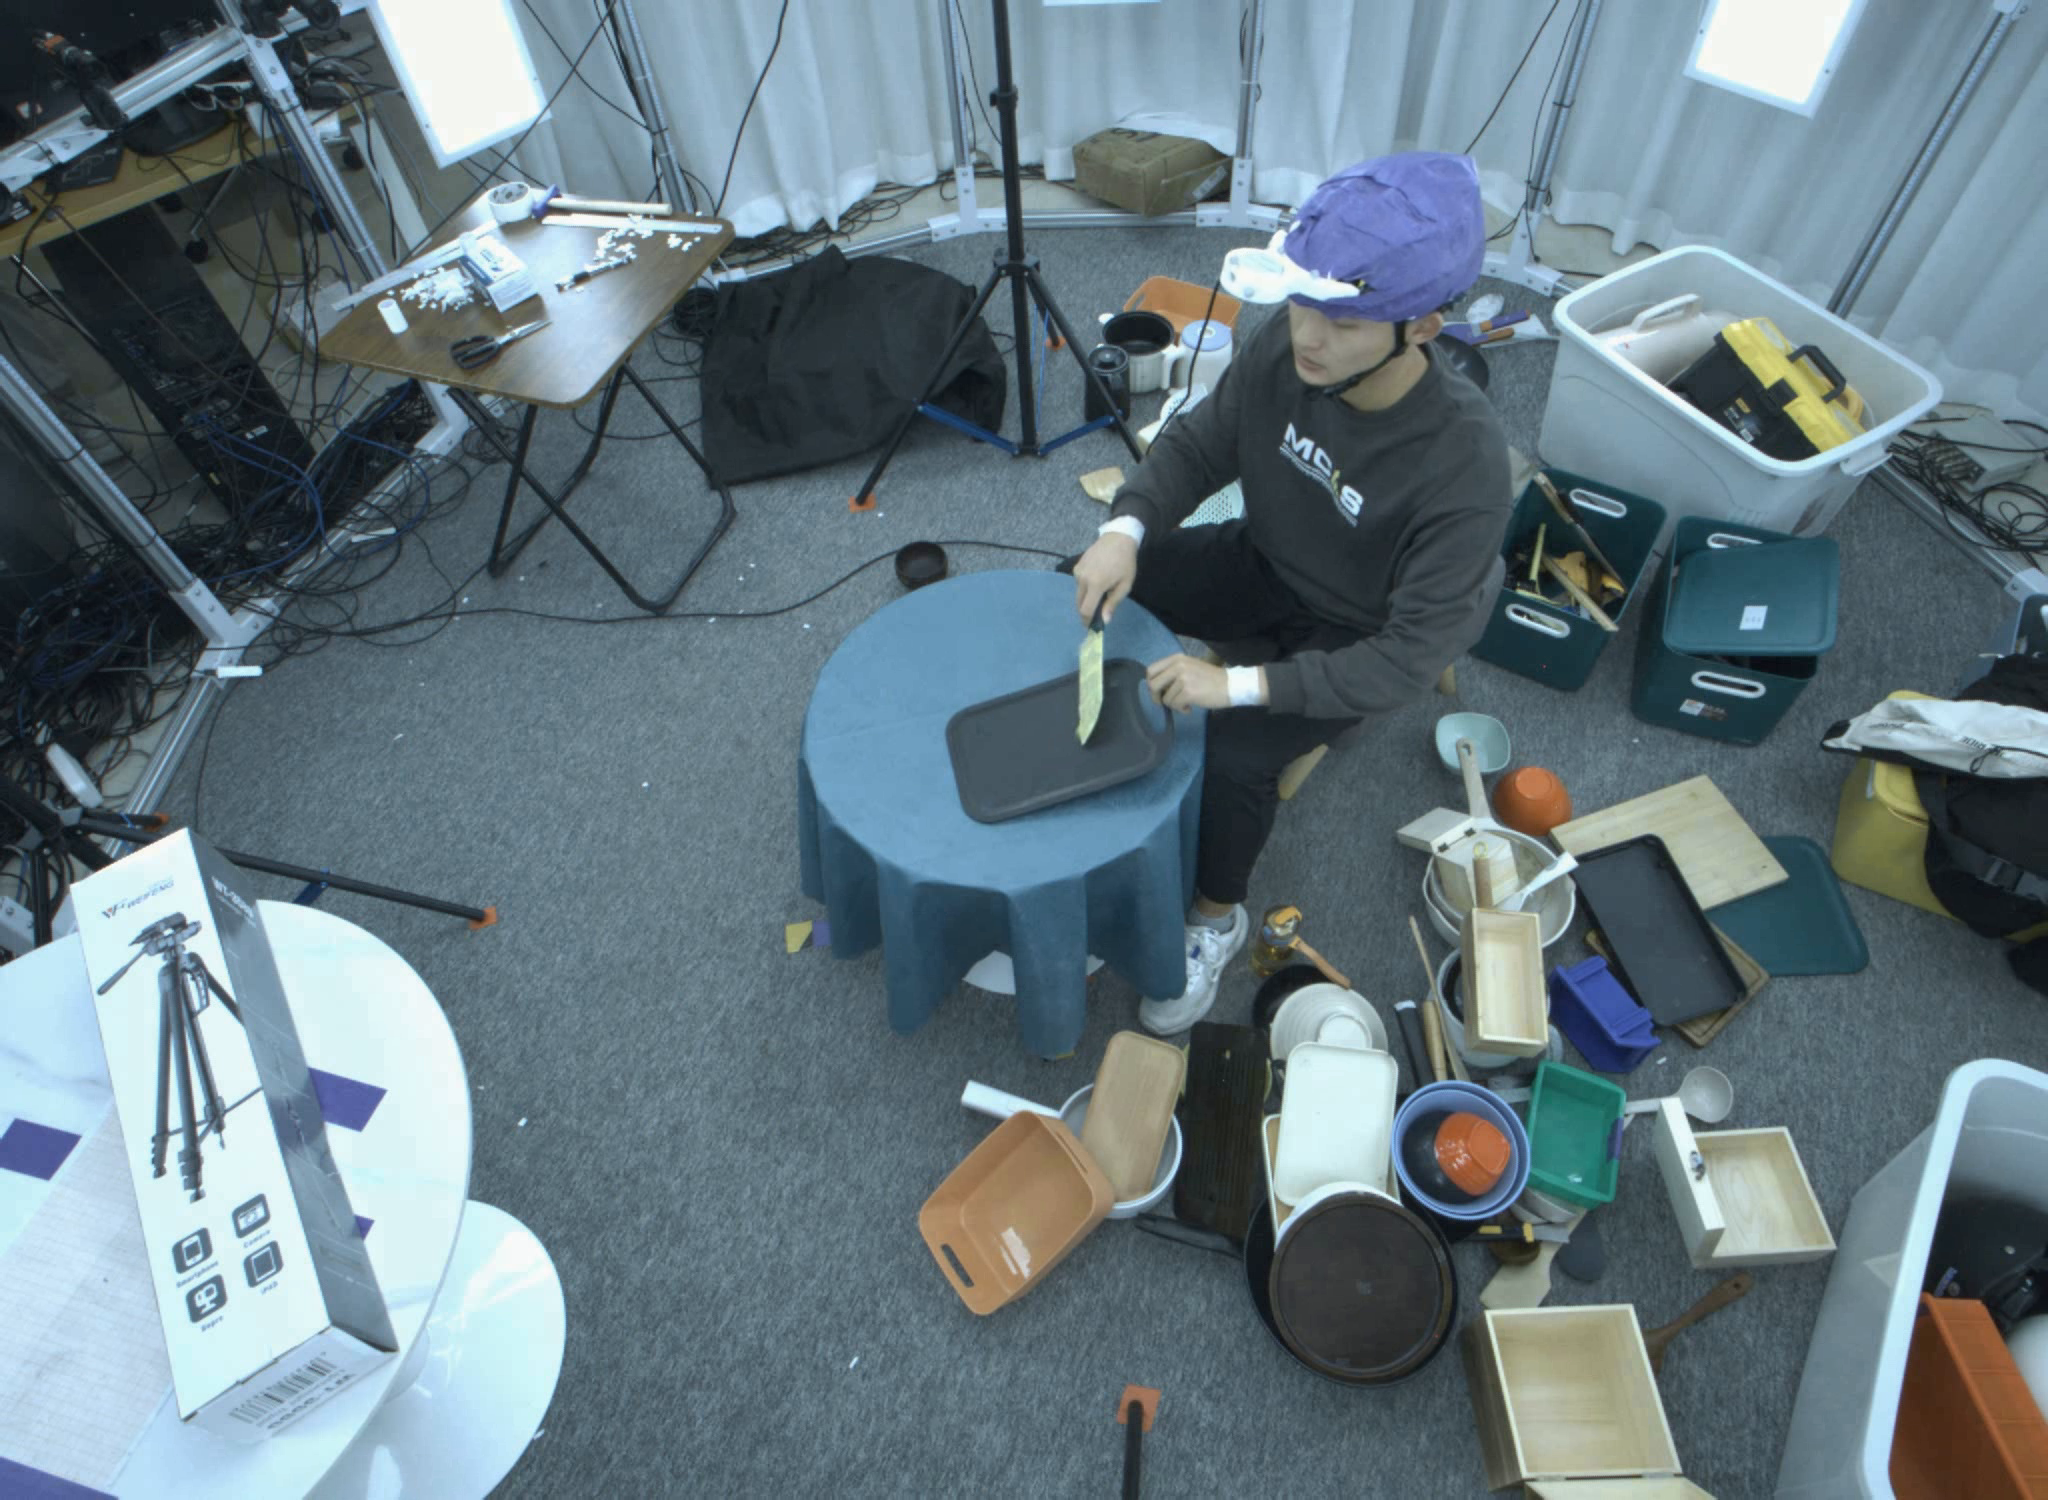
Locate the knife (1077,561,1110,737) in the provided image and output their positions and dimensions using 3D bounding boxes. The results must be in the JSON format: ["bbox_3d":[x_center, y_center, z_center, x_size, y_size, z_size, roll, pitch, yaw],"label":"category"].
[{"bbox_3d":[0.100,-0.150,1.801,0.028,0.080,0.287,16,63,-23],"label":"knife"}]

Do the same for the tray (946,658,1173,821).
[{"bbox_3d":[0.052,-0.023,1.772,0.325,0.010,0.208,-18,56,2],"label":"tray"}]
